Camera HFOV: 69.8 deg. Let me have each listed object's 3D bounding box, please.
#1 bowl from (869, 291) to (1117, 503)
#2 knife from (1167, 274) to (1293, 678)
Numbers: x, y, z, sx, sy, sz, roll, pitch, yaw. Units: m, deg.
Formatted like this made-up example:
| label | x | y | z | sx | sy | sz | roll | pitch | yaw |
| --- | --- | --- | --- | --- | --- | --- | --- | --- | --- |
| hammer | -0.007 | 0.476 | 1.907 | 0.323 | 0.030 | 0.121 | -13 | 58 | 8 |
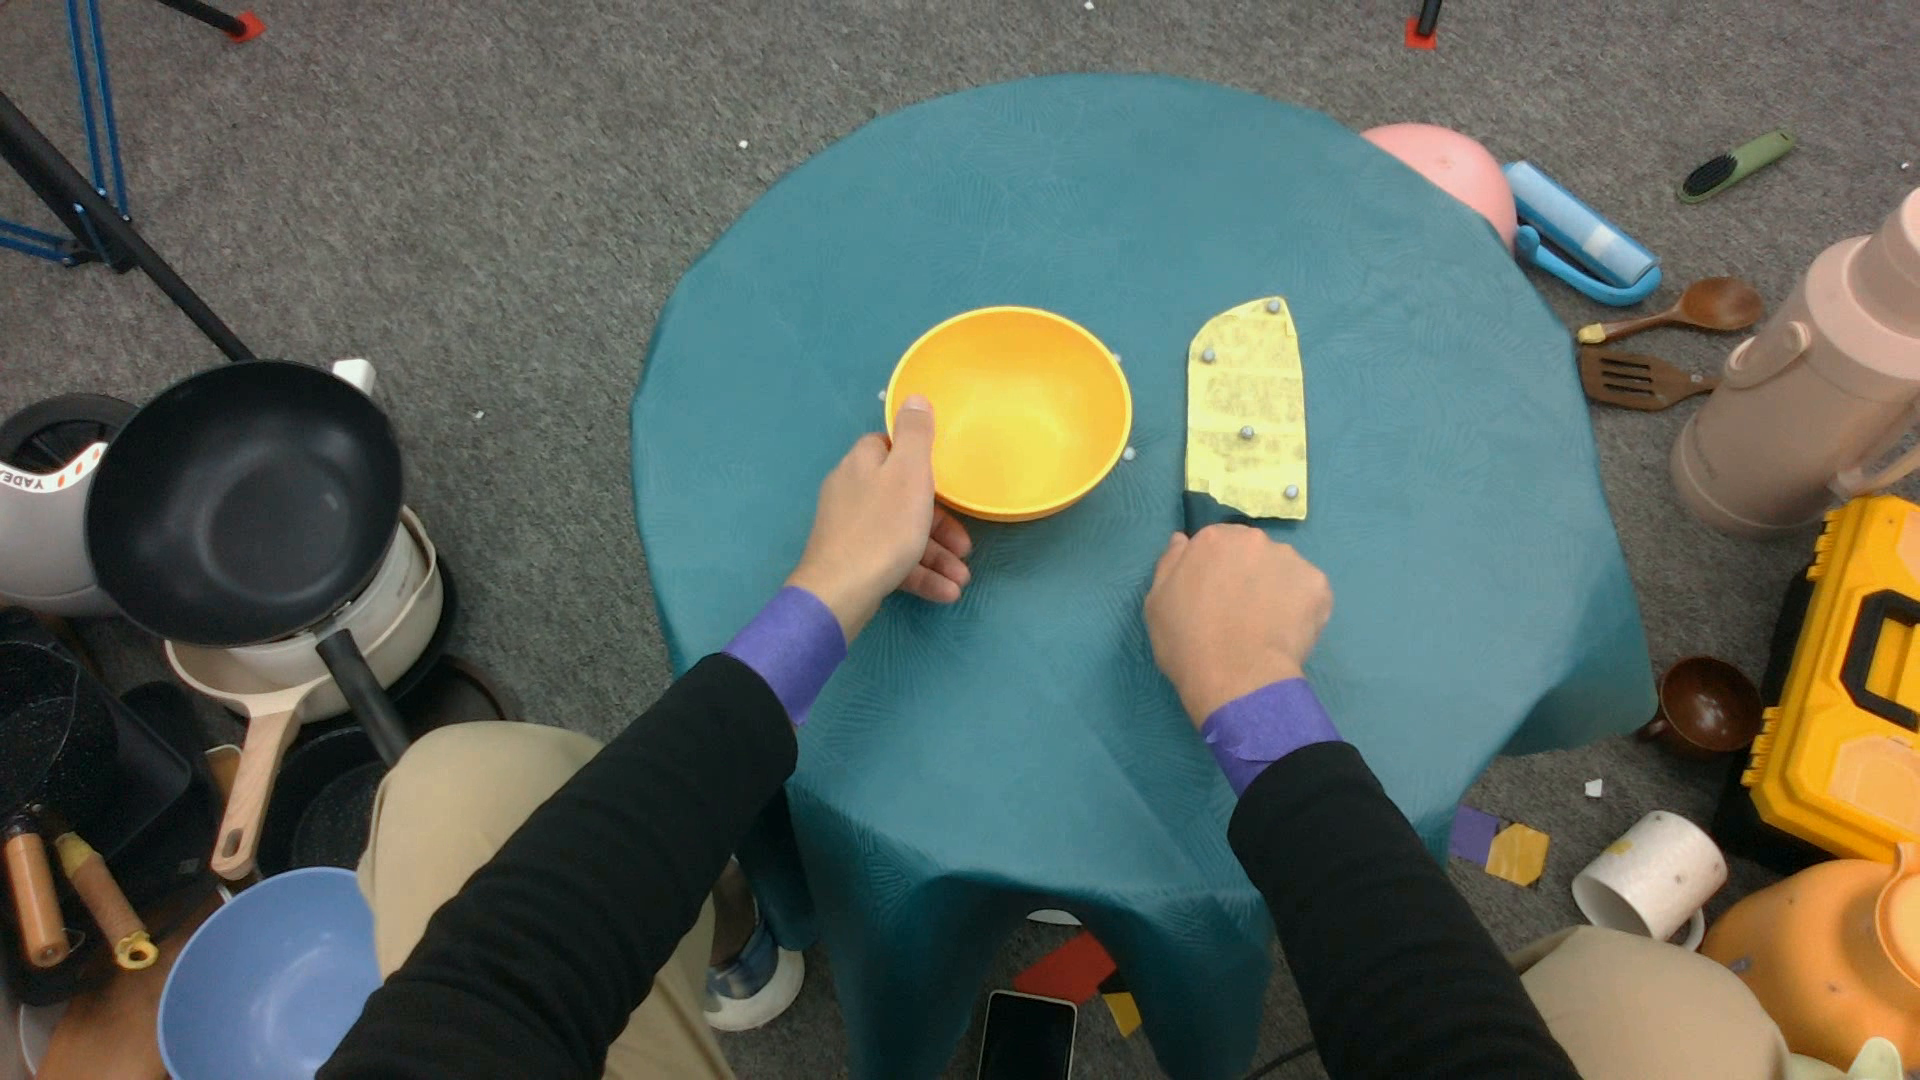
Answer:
| label | x | y | z | sx | sy | sz | roll | pitch | yaw |
| --- | --- | --- | --- | --- | --- | --- | --- | --- | --- |
| bowl | 0.020 | -0.075 | 0.826 | 0.145 | 0.060 | 0.146 | -1 | 61 | 2 |
| knife | 0.161 | -0.049 | 0.836 | 0.081 | 0.027 | 0.290 | 5 | 62 | 7 |
